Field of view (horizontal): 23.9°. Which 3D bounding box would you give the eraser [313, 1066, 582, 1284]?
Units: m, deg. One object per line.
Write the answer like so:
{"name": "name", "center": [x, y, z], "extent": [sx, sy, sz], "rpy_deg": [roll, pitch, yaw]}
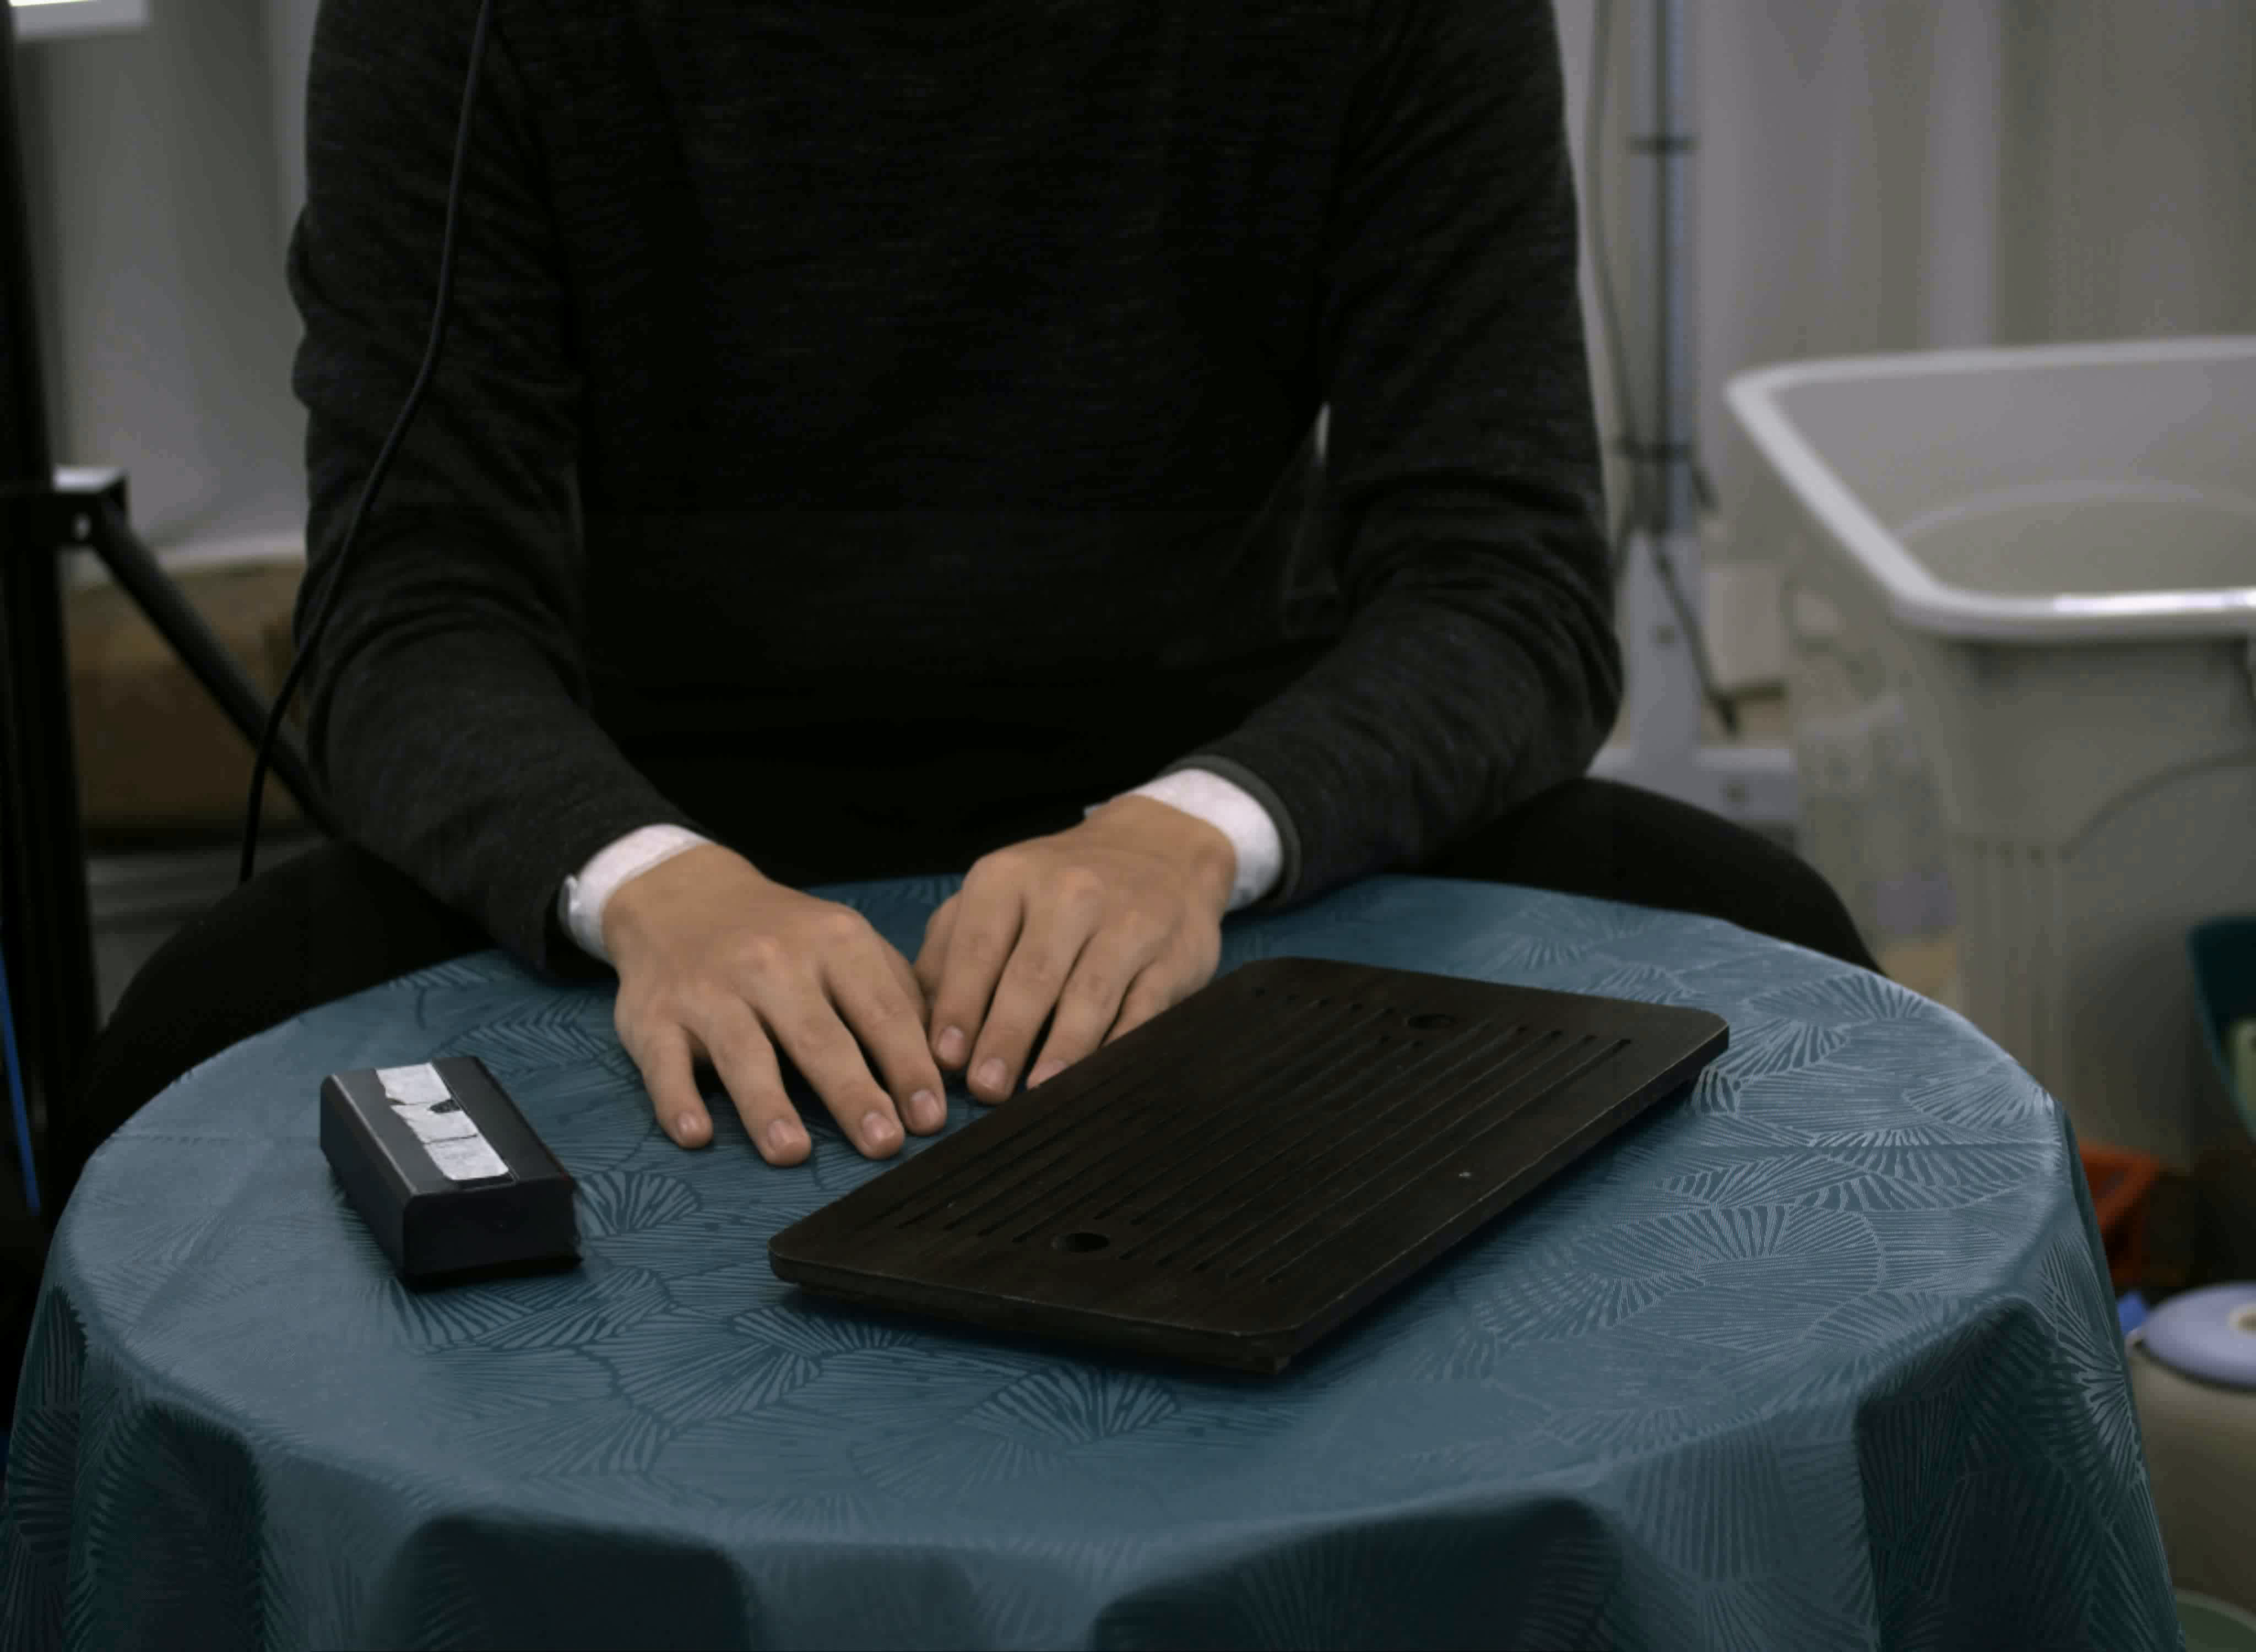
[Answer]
{"name": "eraser", "center": [-0.200, 0.101, 1.562], "extent": [0.052, 0.030, 0.127], "rpy_deg": [-5, 15, -19]}

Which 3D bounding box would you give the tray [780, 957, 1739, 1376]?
{"name": "tray", "center": [0.046, 0.096, 1.557], "extent": [0.173, 0.018, 0.300], "rpy_deg": [7, 18, 30]}
